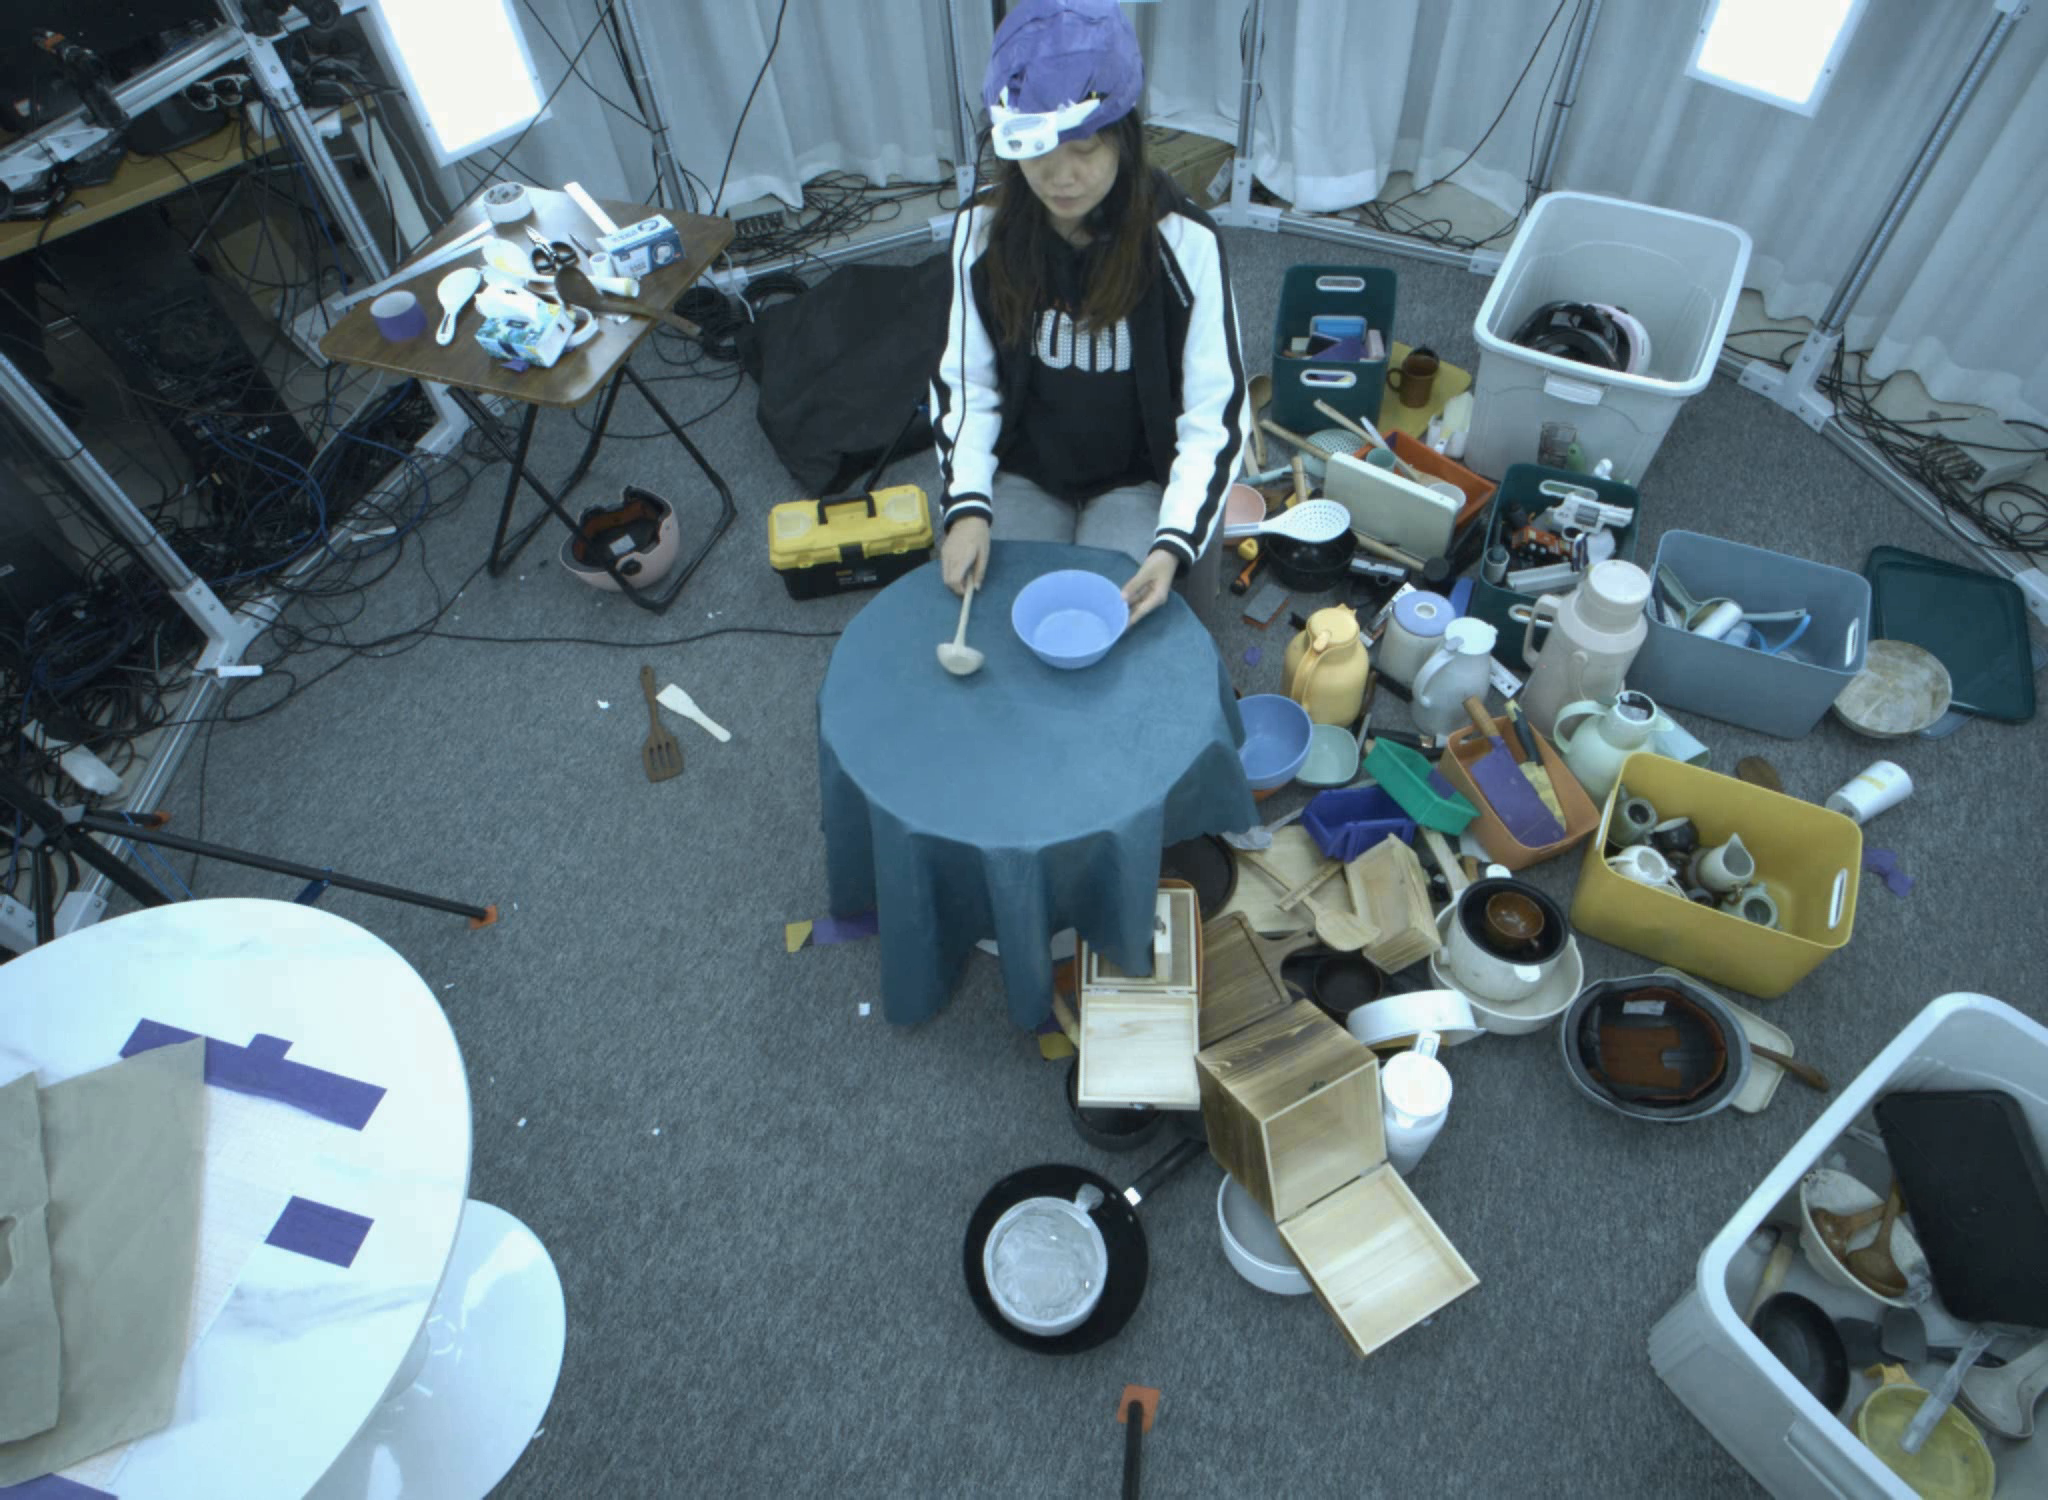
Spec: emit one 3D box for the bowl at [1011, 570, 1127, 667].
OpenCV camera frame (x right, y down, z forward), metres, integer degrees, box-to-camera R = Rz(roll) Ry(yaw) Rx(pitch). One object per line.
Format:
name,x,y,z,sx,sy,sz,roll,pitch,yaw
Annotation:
bowl,0.068,-0.191,1.877,0.176,0.071,0.174,0,55,1

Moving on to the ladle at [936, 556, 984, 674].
ladle,-0.090,-0.229,1.903,0.073,0.072,0.252,12,57,-12
